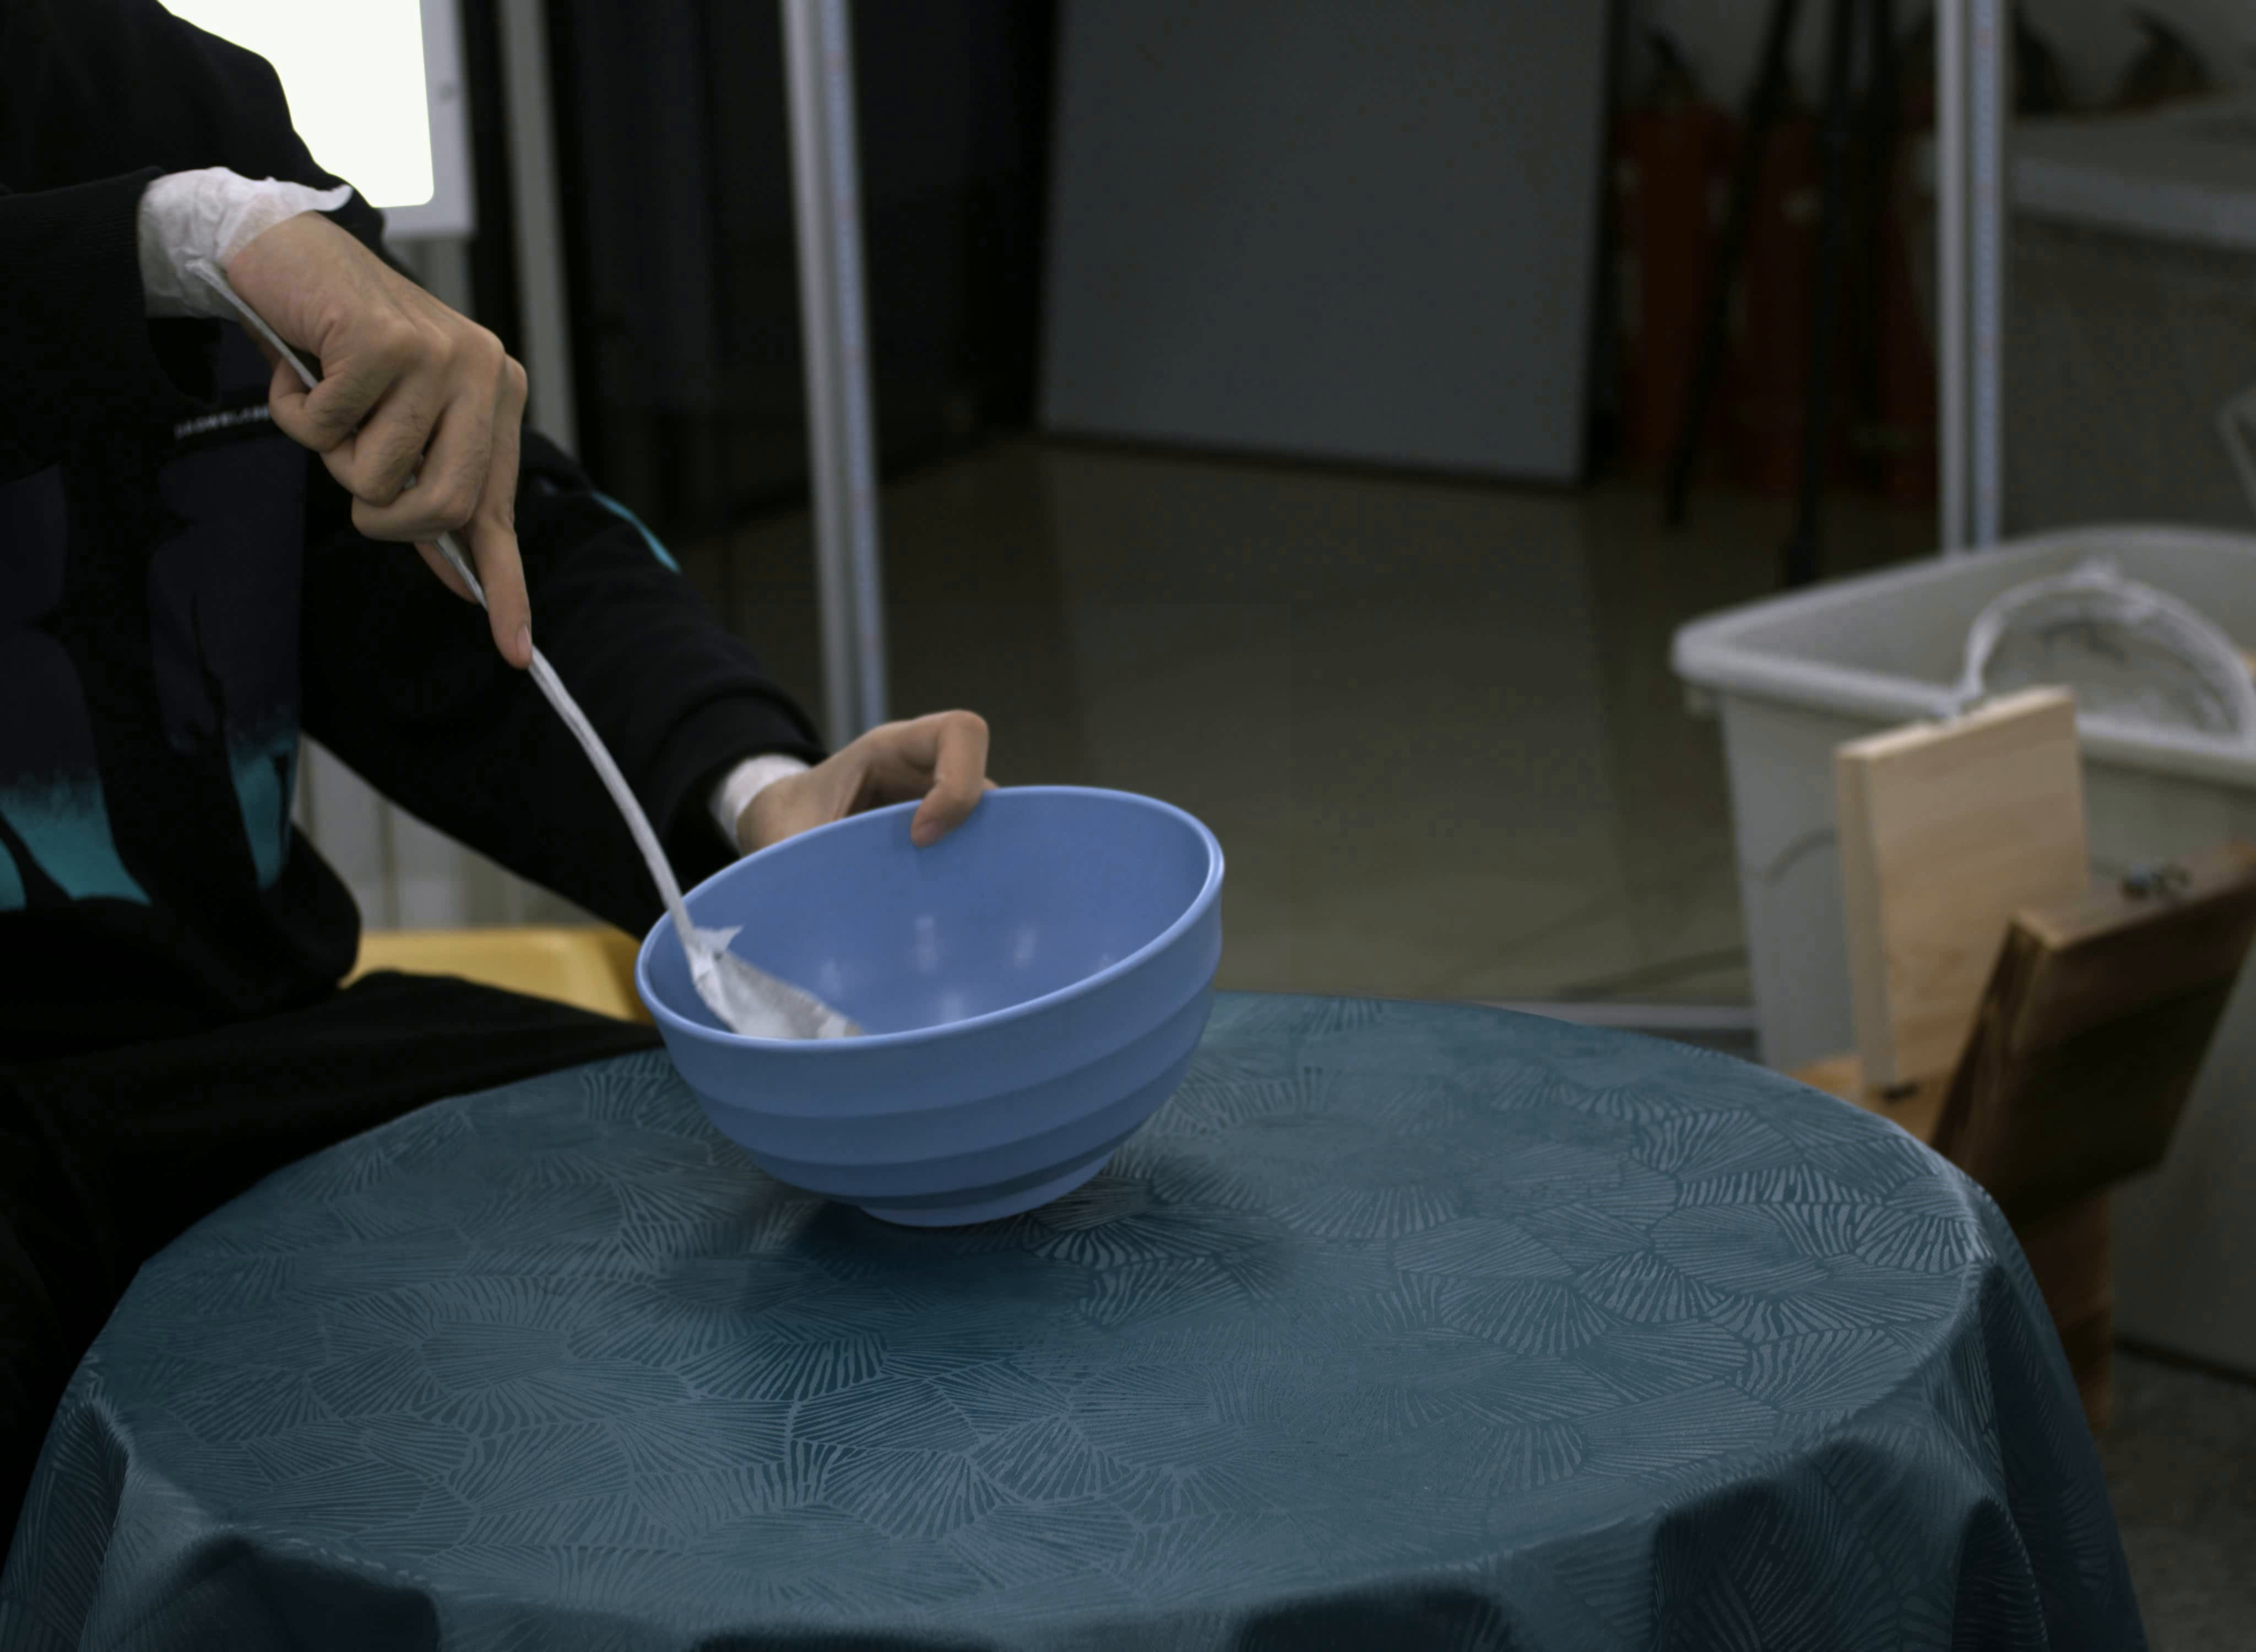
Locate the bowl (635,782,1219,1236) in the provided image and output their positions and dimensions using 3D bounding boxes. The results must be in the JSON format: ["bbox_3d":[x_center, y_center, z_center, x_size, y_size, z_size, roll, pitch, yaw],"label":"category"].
[{"bbox_3d":[-0.056,0.070,1.762,0.194,0.096,0.197,-12,22,4],"label":"bowl"}]

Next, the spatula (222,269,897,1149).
[{"bbox_3d":[-0.173,-0.036,1.736,0.045,0.366,0.098,-33,3,11],"label":"spatula"}]
